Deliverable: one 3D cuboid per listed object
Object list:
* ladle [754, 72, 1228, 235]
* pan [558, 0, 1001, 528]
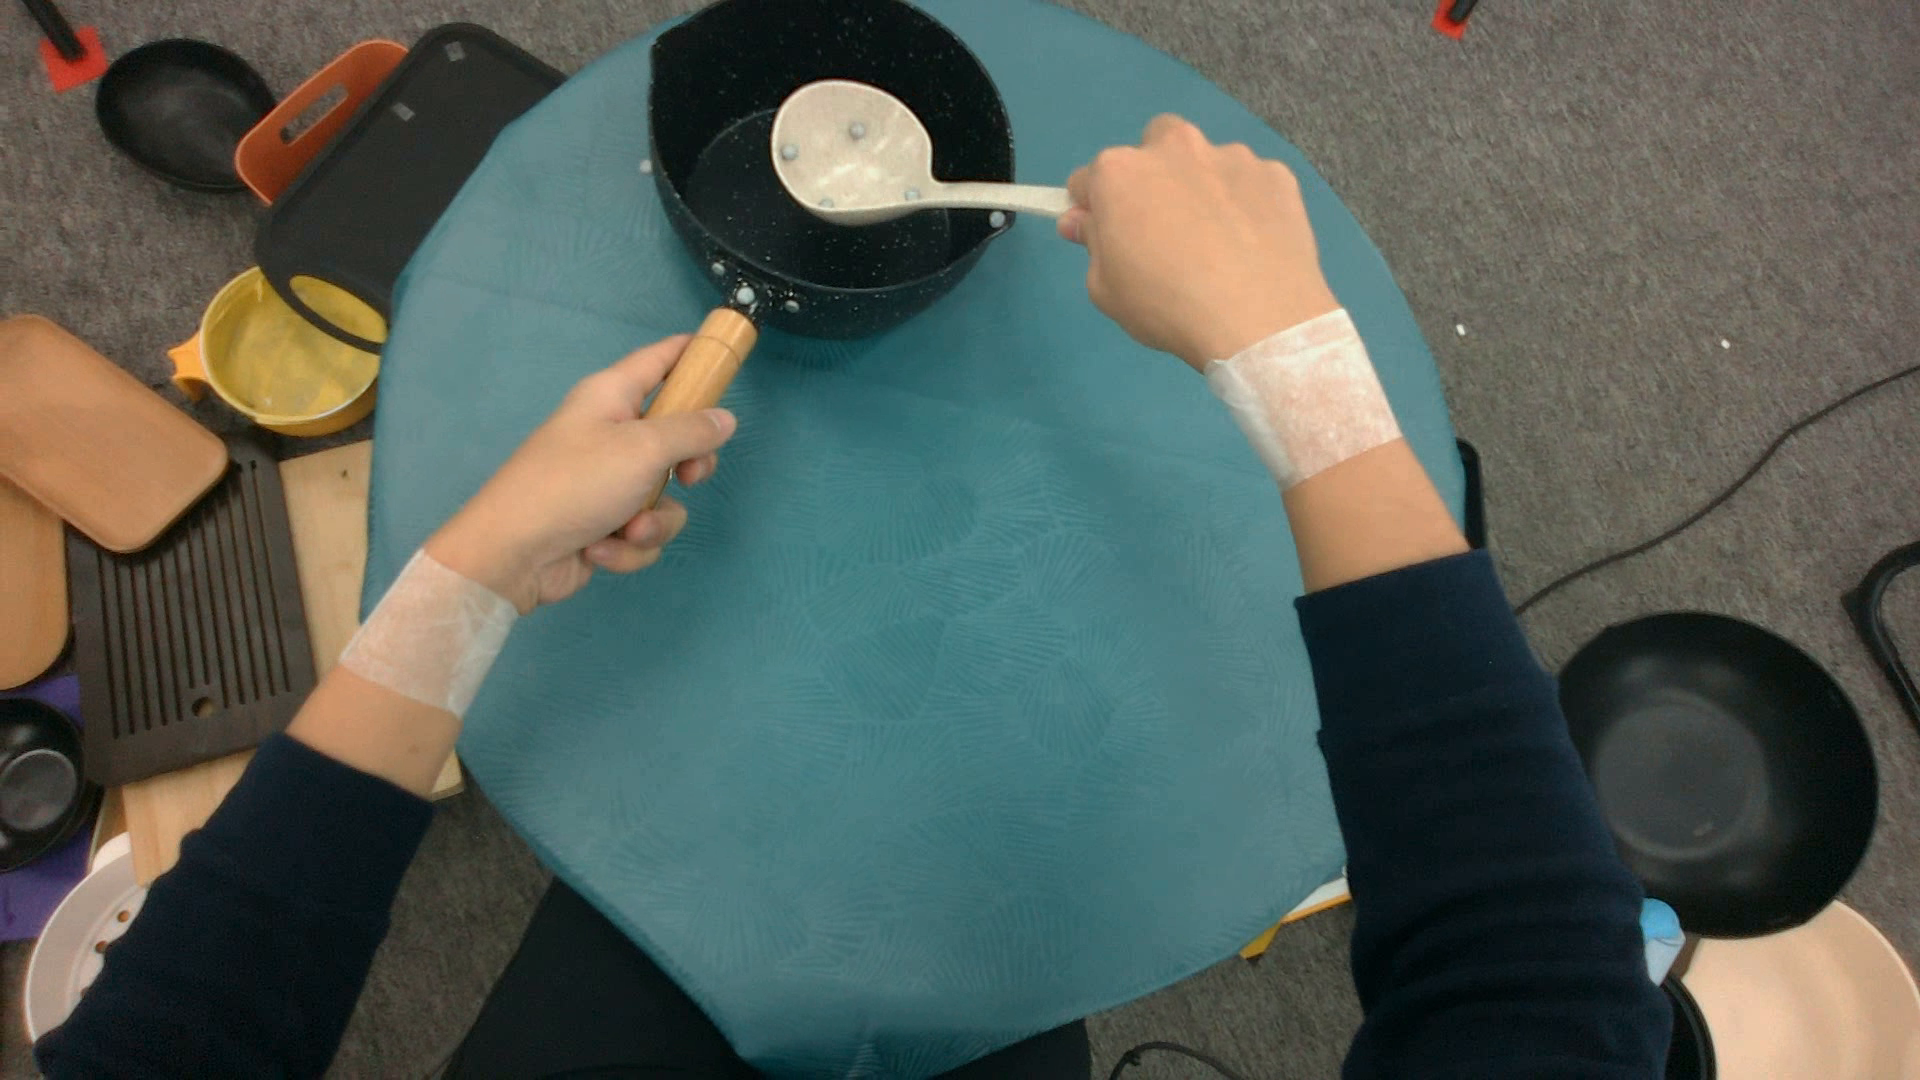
[{"bbox_3d":[0.007,-0.183,0.637,0.090,0.274,0.069,-34,123,-31],"label":"ladle"},{"bbox_3d":[-0.105,-0.137,0.690,0.207,0.108,0.344,24,66,-5],"label":"pan"}]
